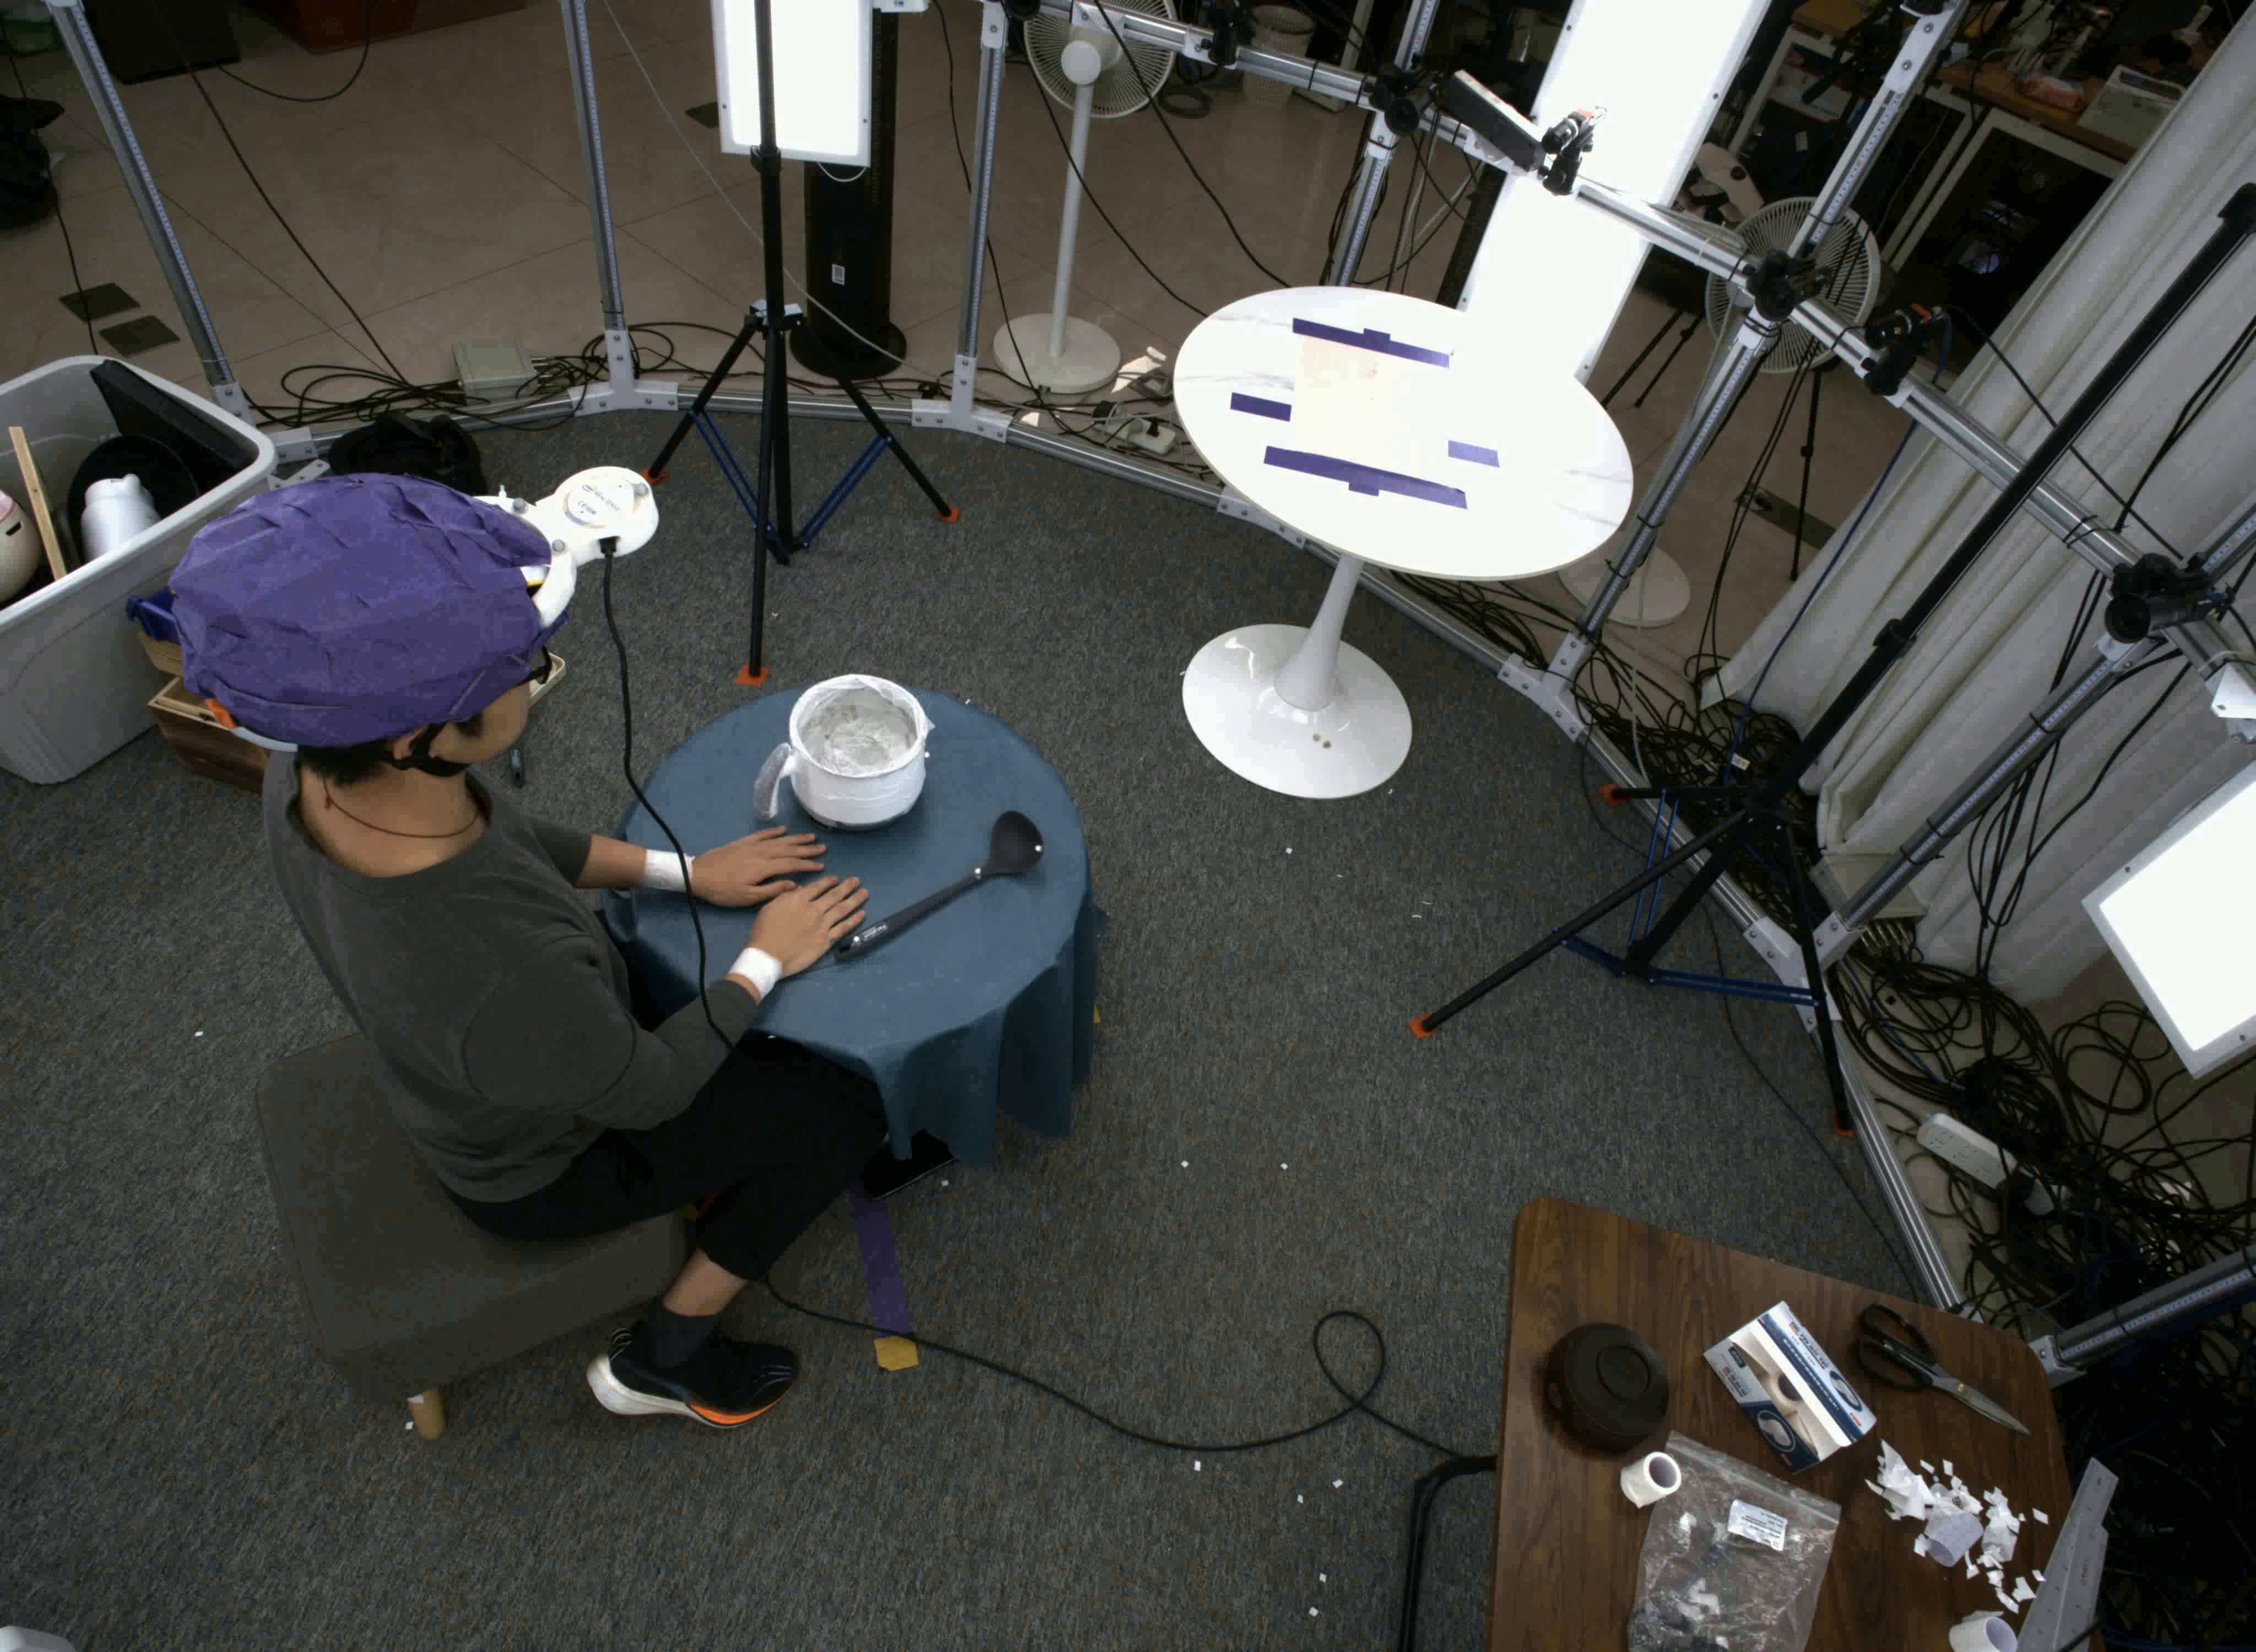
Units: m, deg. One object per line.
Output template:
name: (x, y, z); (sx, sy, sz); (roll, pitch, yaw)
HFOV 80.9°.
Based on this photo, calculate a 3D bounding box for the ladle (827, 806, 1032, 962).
ladle: (-0.258, 0.077, 1.680); (0.315, 0.065, 0.084); (-32, 61, -31)

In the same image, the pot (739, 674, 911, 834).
pot: (-0.403, -0.083, 1.714); (0.235, 0.139, 0.174); (-24, 62, -28)
